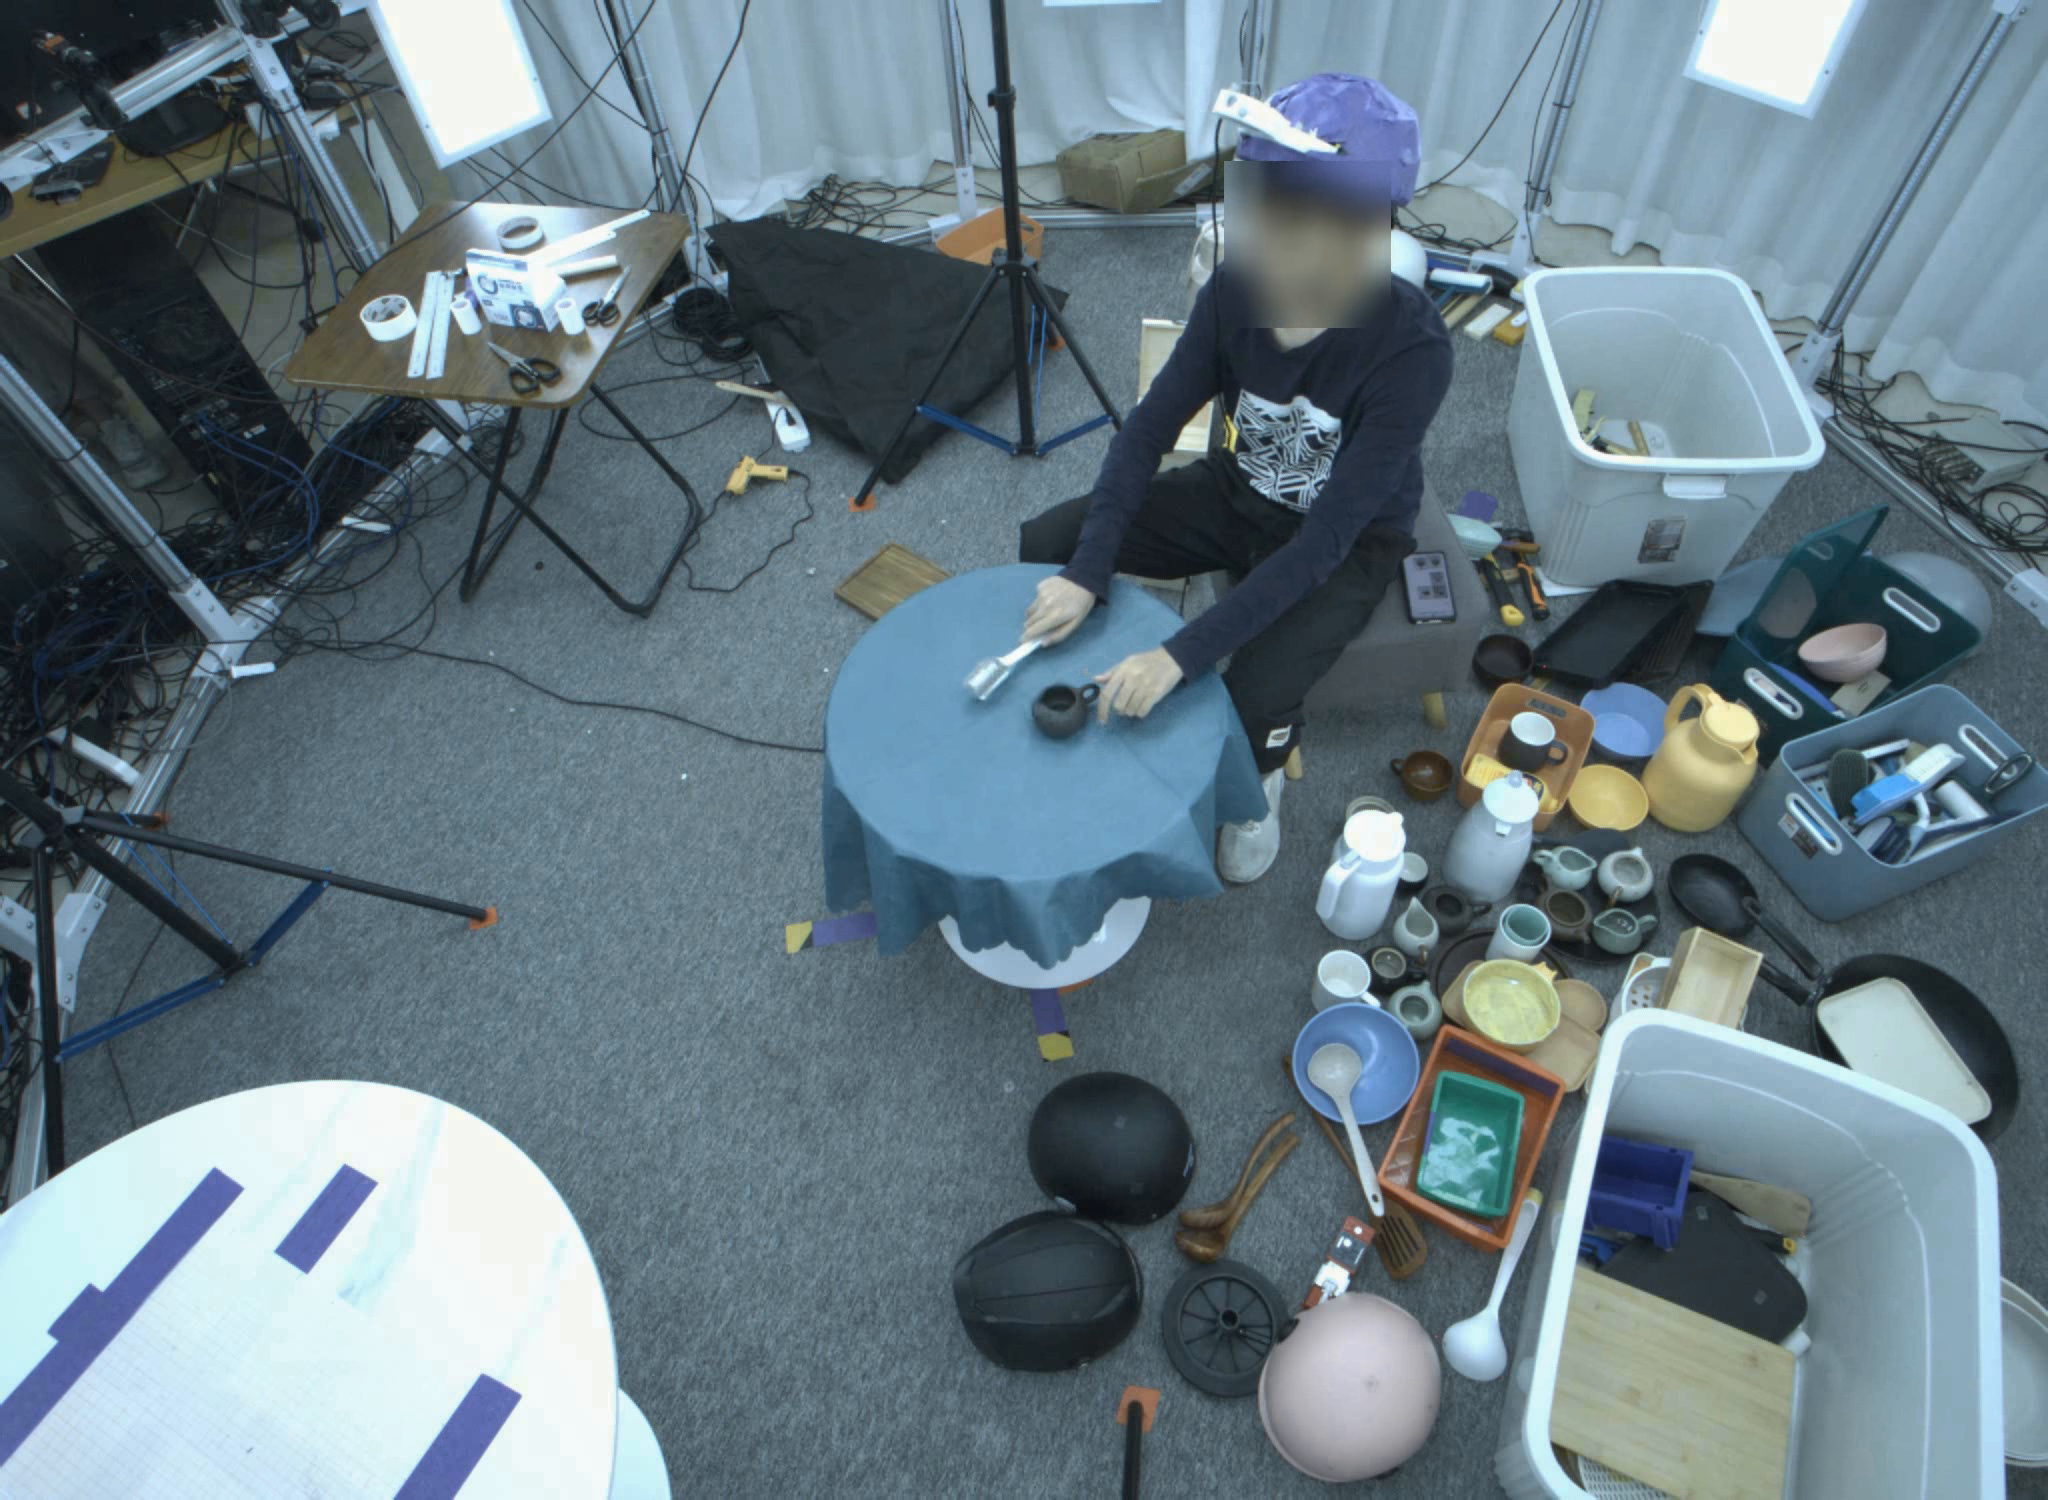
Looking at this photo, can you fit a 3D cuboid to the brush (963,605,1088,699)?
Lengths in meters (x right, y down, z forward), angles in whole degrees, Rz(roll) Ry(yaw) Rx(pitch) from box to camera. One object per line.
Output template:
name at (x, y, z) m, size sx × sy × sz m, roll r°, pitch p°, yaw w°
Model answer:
brush at (0.006, -0.158, 1.856) m, size 0.245 × 0.050 × 0.034 m, roll -38°, pitch 72°, yaw -20°

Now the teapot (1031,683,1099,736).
teapot at (0.061, -0.066, 1.793) m, size 0.115 × 0.053 × 0.081 m, roll -27°, pitch 57°, yaw -16°
